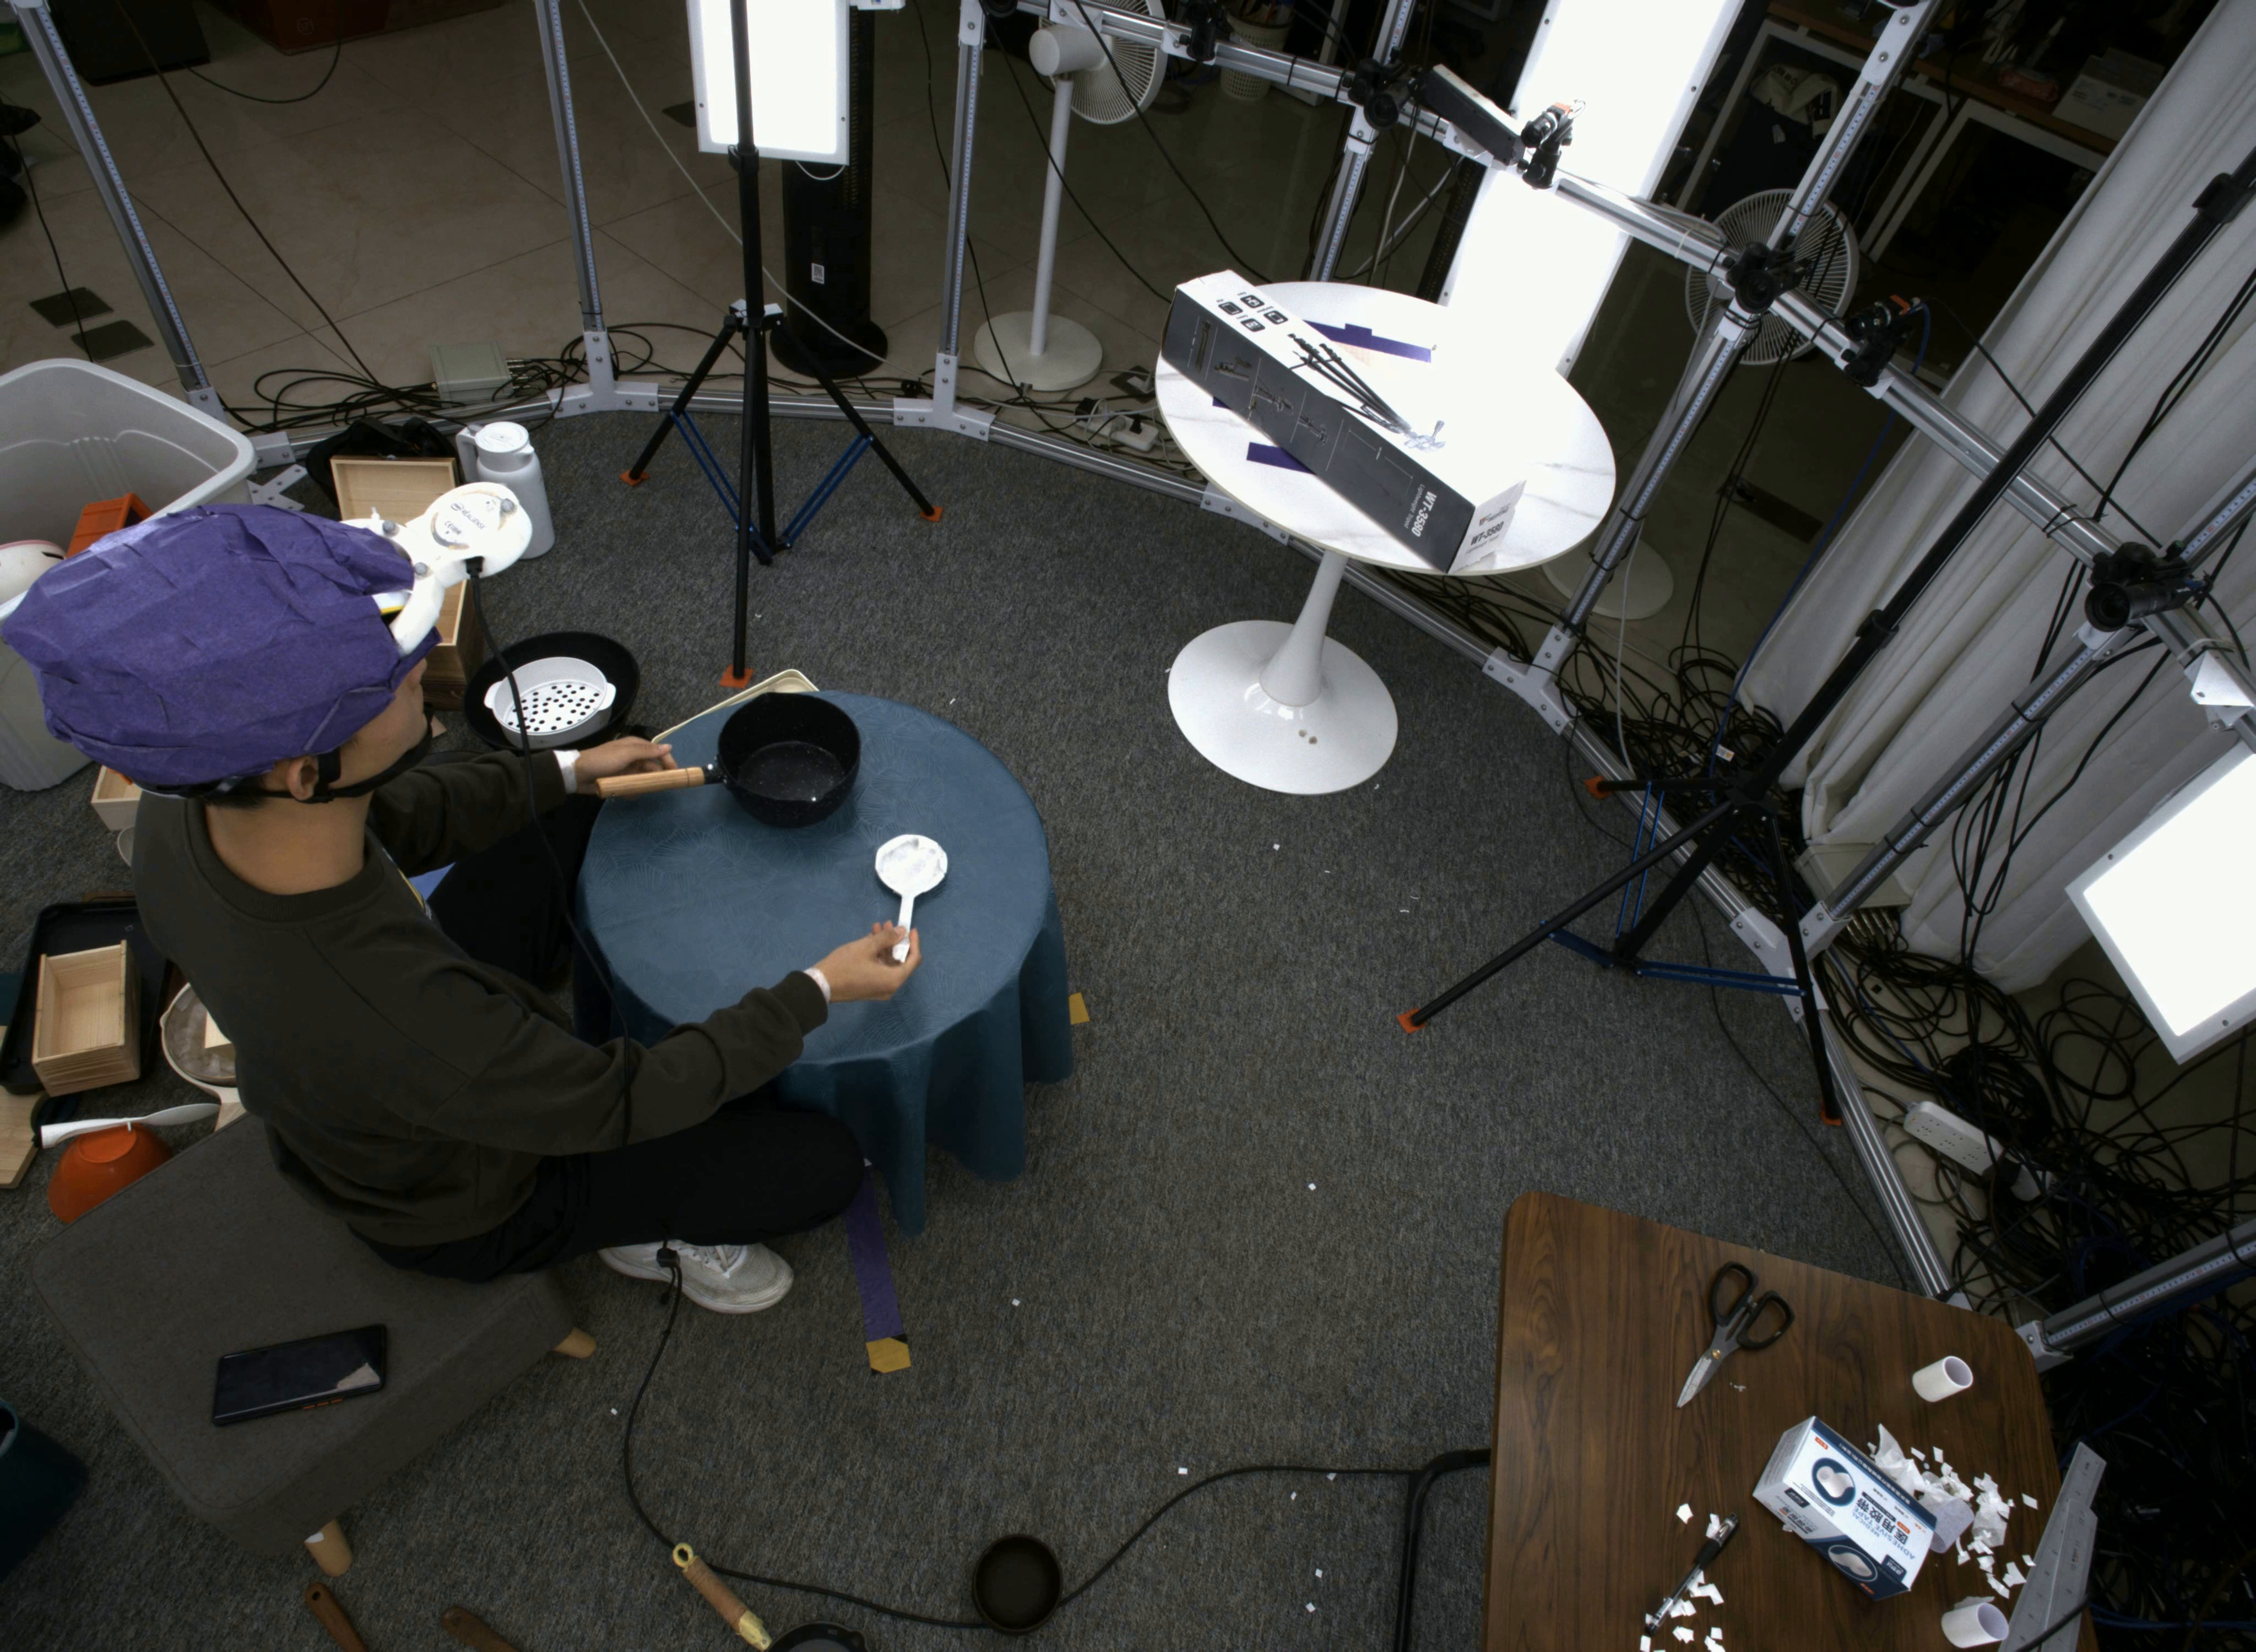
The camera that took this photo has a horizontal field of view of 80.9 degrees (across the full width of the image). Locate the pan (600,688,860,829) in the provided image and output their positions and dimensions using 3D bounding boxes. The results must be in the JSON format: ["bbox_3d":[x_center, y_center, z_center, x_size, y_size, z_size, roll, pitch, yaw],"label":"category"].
[{"bbox_3d":[-0.519,-0.067,1.691,0.345,0.110,0.202,-18,61,-27],"label":"pan"}]

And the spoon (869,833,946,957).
[{"bbox_3d":[-0.286,0.080,1.619,0.100,0.061,0.272,1,19,-4],"label":"spoon"}]
